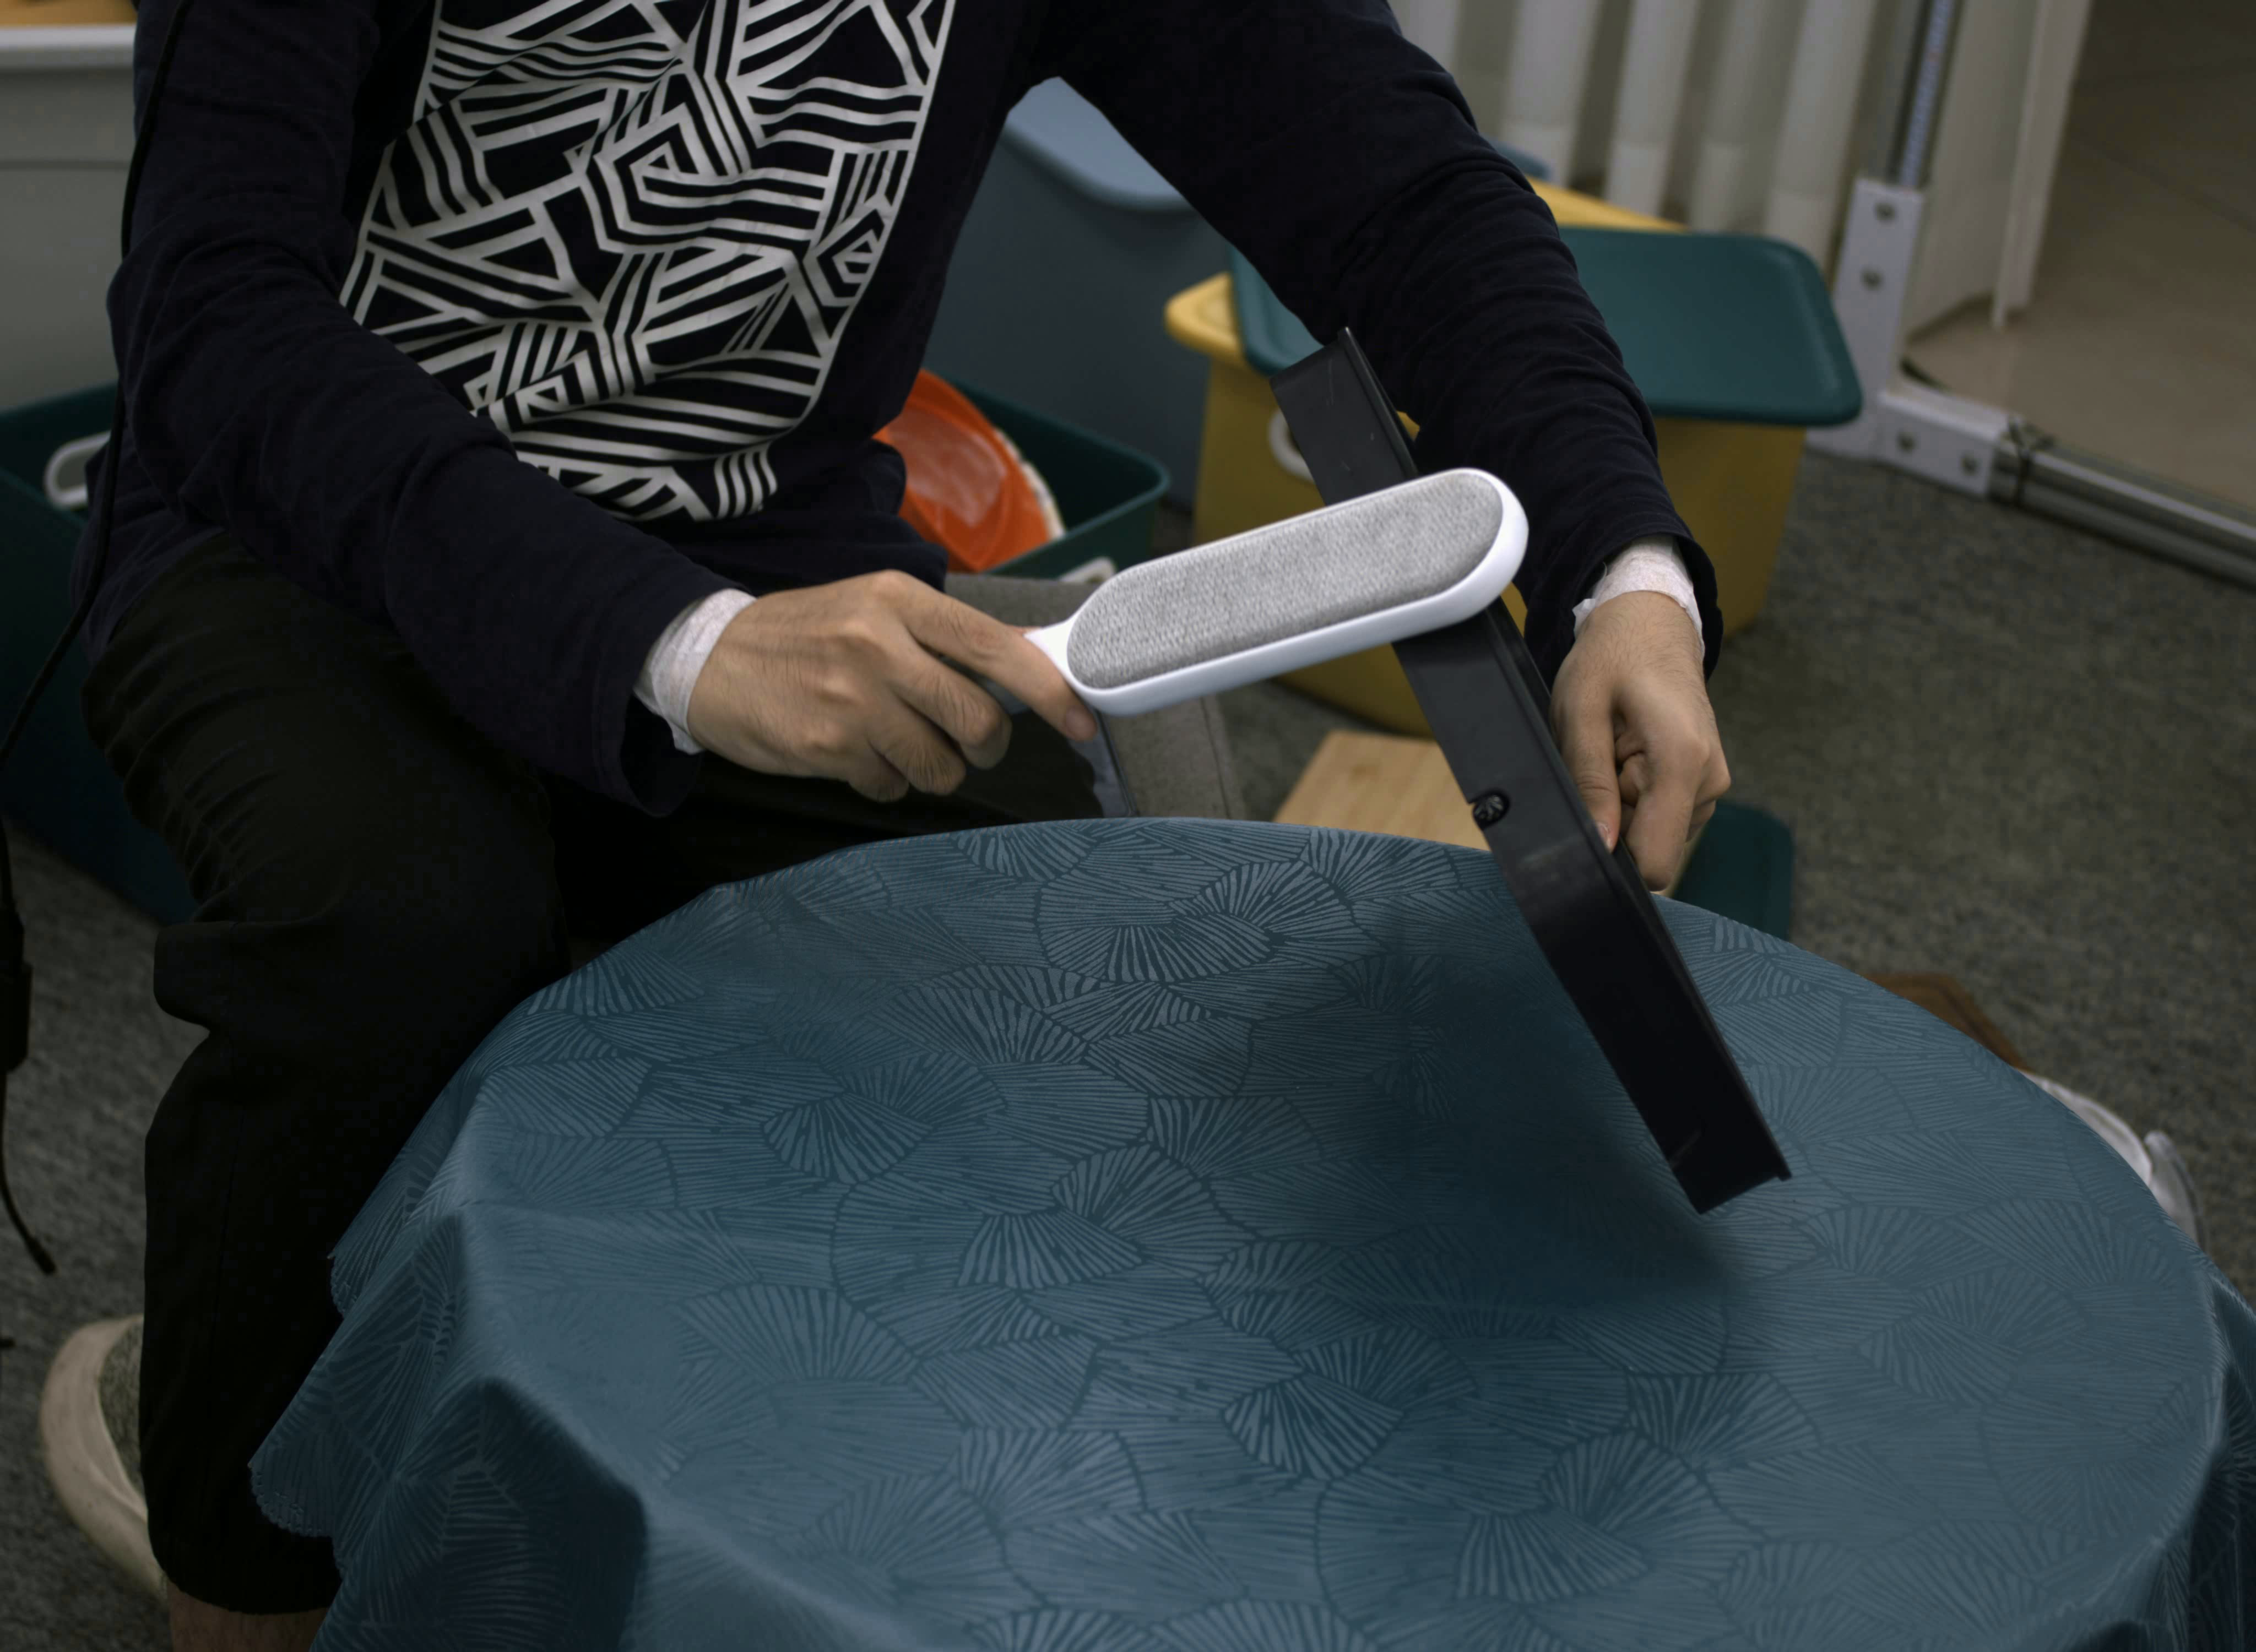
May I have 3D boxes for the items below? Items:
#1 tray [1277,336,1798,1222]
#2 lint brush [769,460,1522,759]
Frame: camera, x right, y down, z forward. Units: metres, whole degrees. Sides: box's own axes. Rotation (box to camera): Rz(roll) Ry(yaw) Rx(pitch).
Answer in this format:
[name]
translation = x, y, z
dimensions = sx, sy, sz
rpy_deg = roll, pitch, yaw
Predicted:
[tray]
translation = 0.138, -0.020, 1.836
dimensions = 0.037, 0.182, 0.321
rpy_deg = -28, 40, 6
[lint brush]
translation = 0.001, -0.069, 1.834
dimensions = 0.309, 0.021, 0.060
rpy_deg = -15, 55, 32
